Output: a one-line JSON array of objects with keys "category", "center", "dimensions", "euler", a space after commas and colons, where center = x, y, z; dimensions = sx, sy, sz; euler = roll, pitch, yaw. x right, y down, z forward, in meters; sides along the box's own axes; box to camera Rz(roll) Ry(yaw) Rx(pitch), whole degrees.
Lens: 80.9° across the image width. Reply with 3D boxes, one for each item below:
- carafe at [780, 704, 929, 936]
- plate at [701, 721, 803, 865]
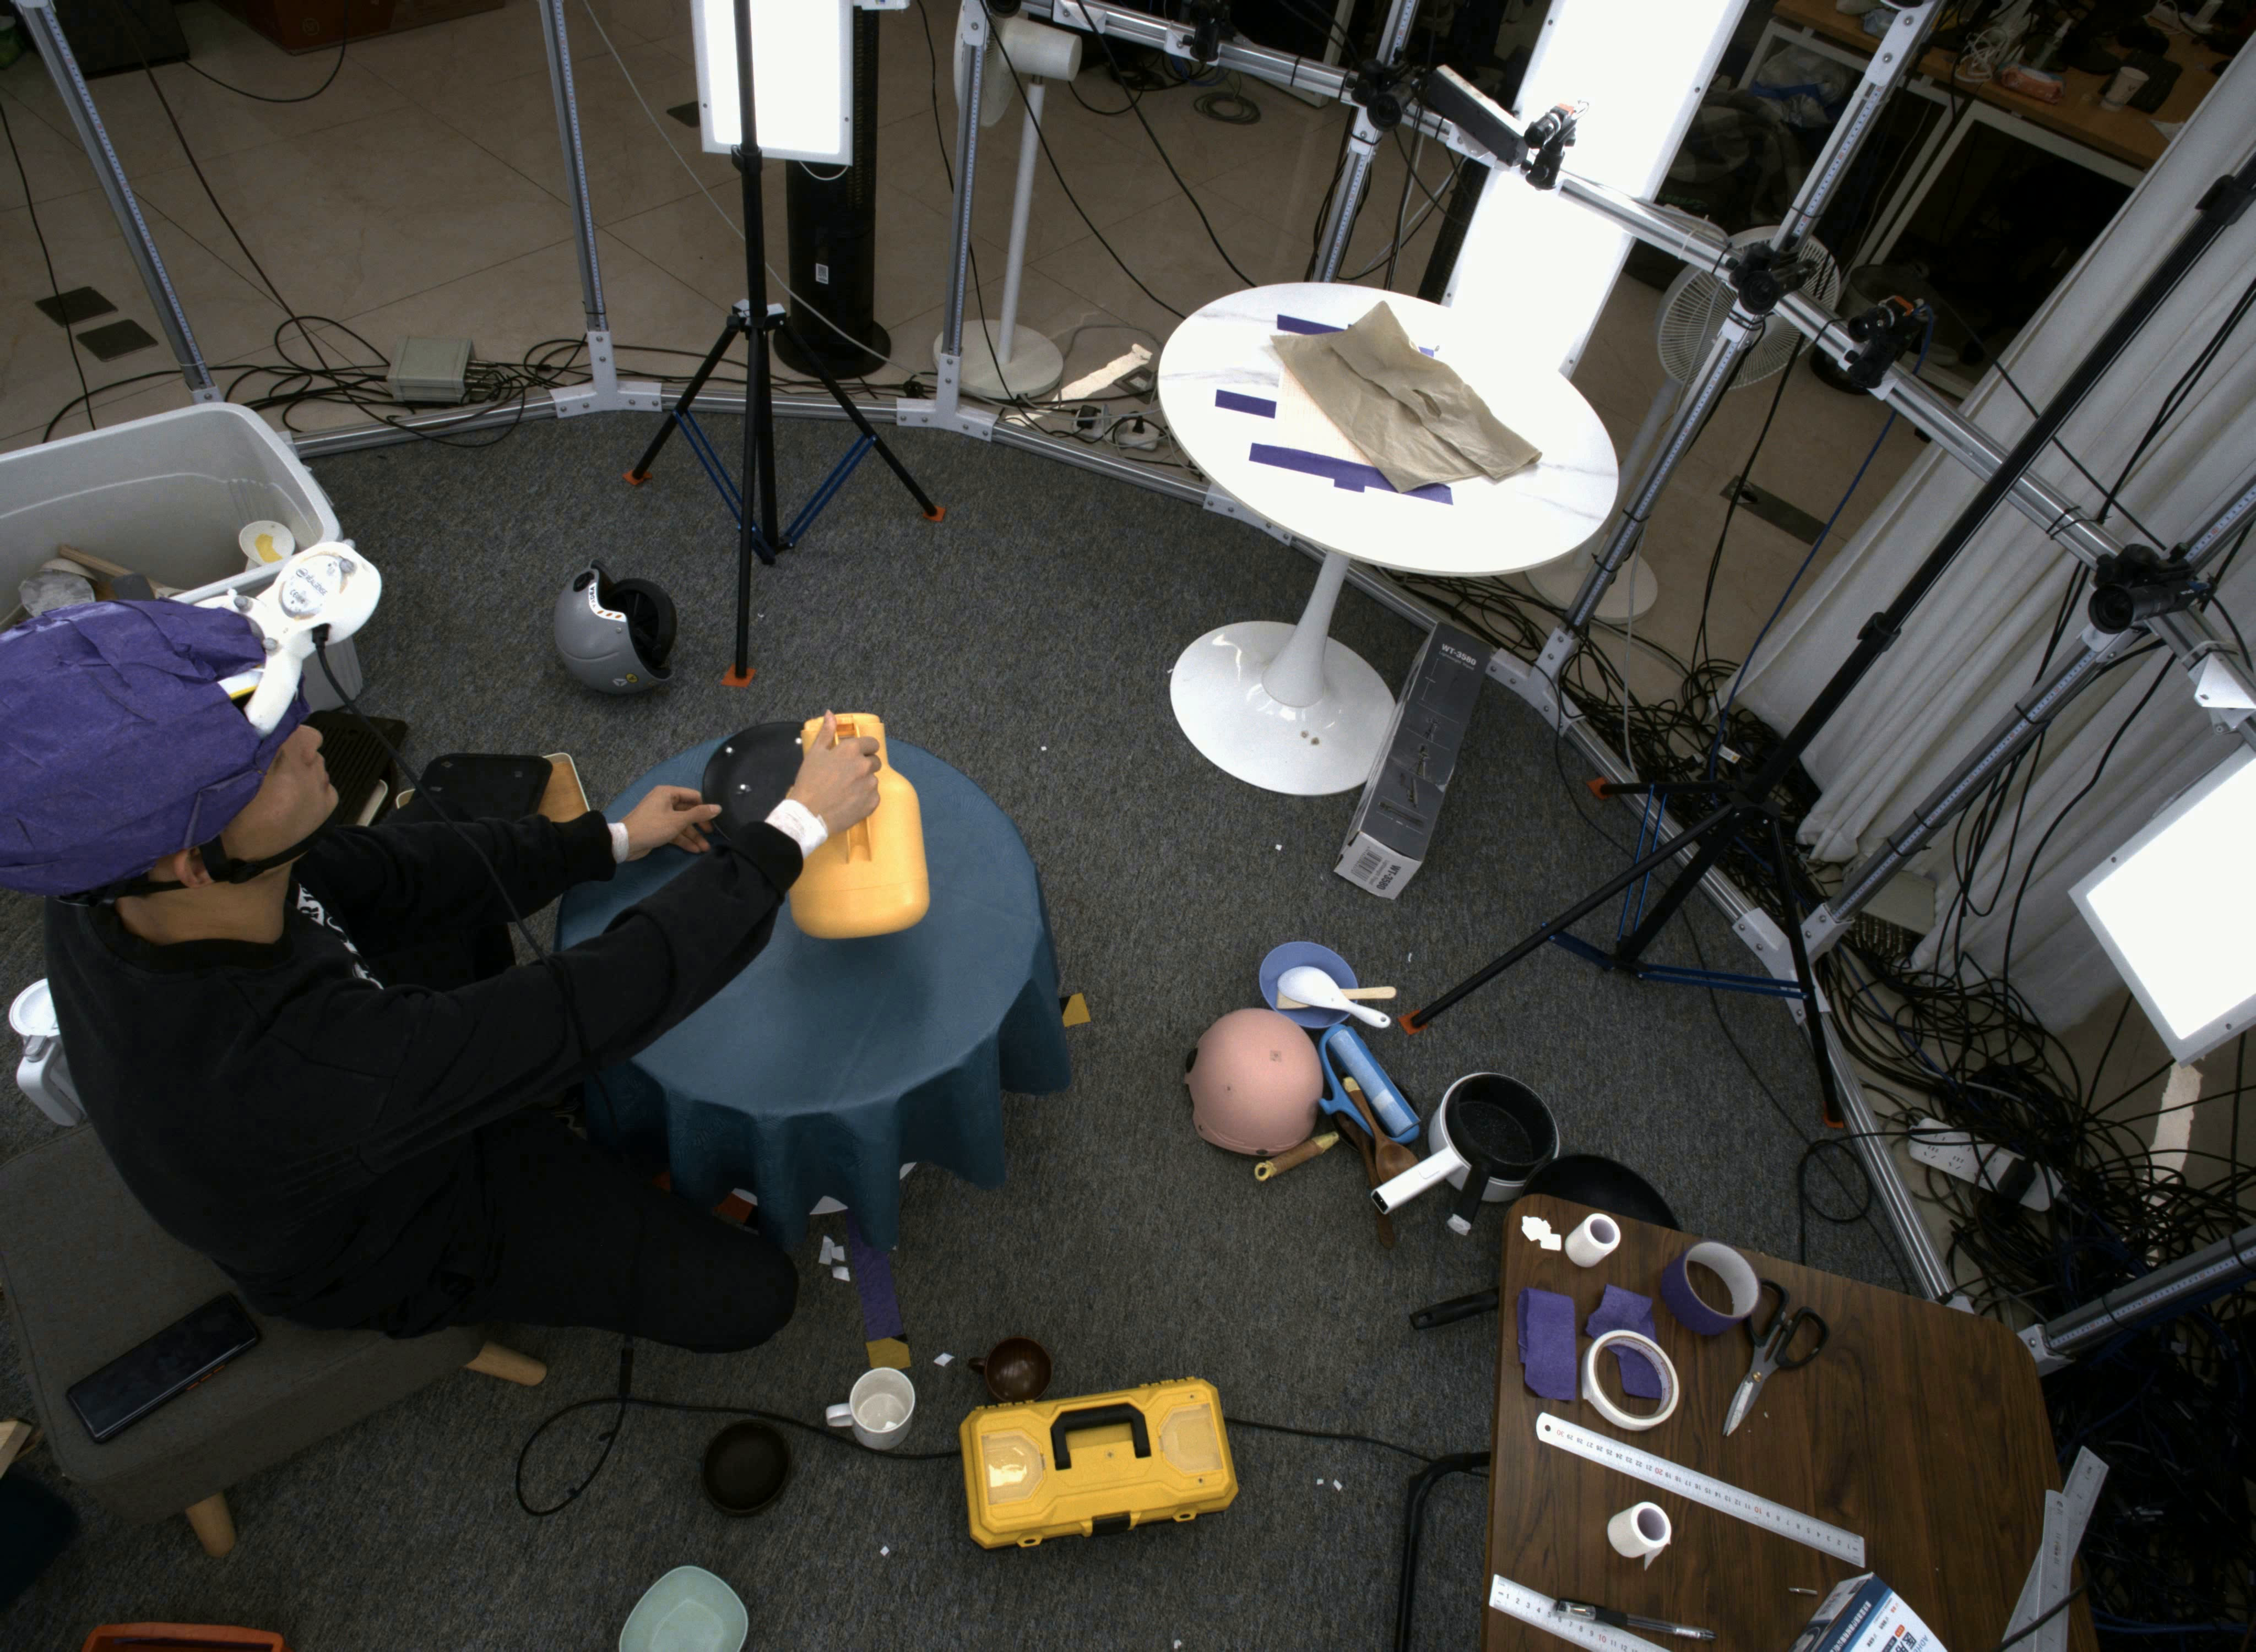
[{"category": "carafe", "center": [-0.323, -0.008, 1.507], "dimensions": [0.163, 0.199, 0.265], "euler": [-8, 95, -13]}, {"category": "plate", "center": [-0.442, -0.043, 1.723], "dimensions": [0.245, 0.024, 0.240], "euler": [12, 50, -13]}]
